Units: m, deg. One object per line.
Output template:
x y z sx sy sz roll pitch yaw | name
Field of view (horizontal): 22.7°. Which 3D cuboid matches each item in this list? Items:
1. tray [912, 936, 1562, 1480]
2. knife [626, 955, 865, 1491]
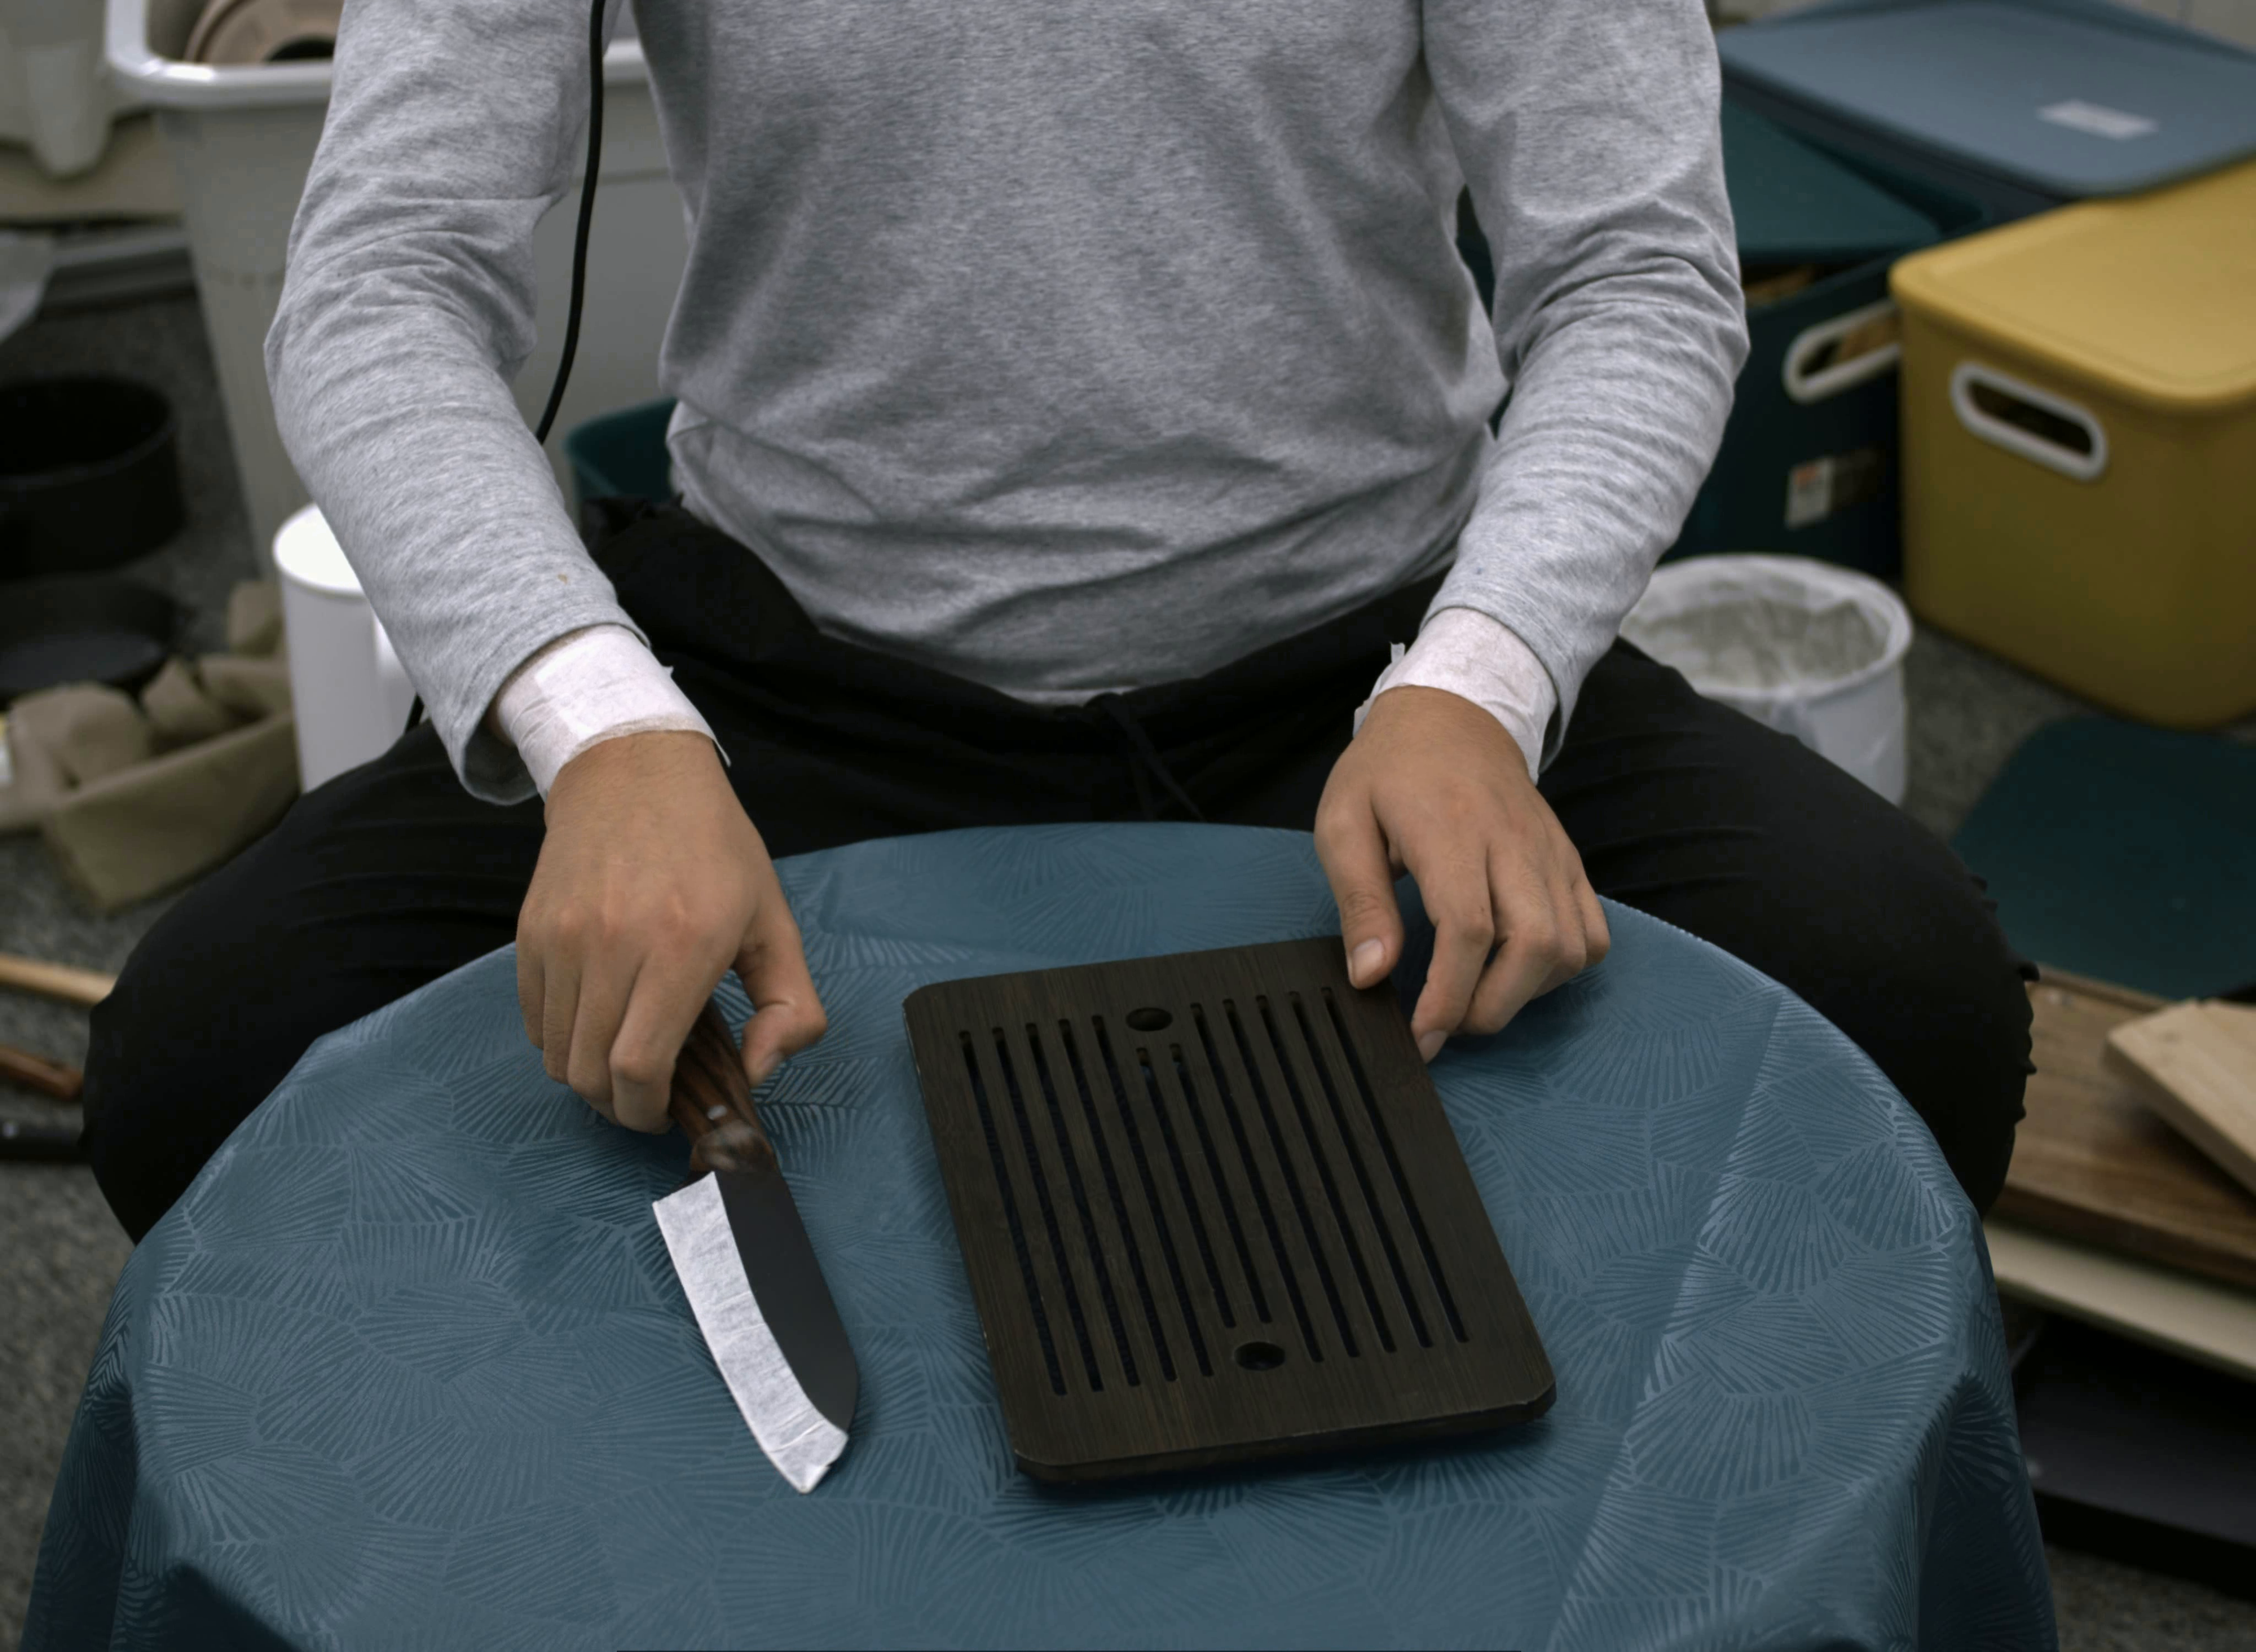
0.029 0.122 1.839 0.170 0.018 0.310 -6 27 -6 | tray
-0.129 0.127 1.831 0.050 0.020 0.293 -24 34 0 | knife
